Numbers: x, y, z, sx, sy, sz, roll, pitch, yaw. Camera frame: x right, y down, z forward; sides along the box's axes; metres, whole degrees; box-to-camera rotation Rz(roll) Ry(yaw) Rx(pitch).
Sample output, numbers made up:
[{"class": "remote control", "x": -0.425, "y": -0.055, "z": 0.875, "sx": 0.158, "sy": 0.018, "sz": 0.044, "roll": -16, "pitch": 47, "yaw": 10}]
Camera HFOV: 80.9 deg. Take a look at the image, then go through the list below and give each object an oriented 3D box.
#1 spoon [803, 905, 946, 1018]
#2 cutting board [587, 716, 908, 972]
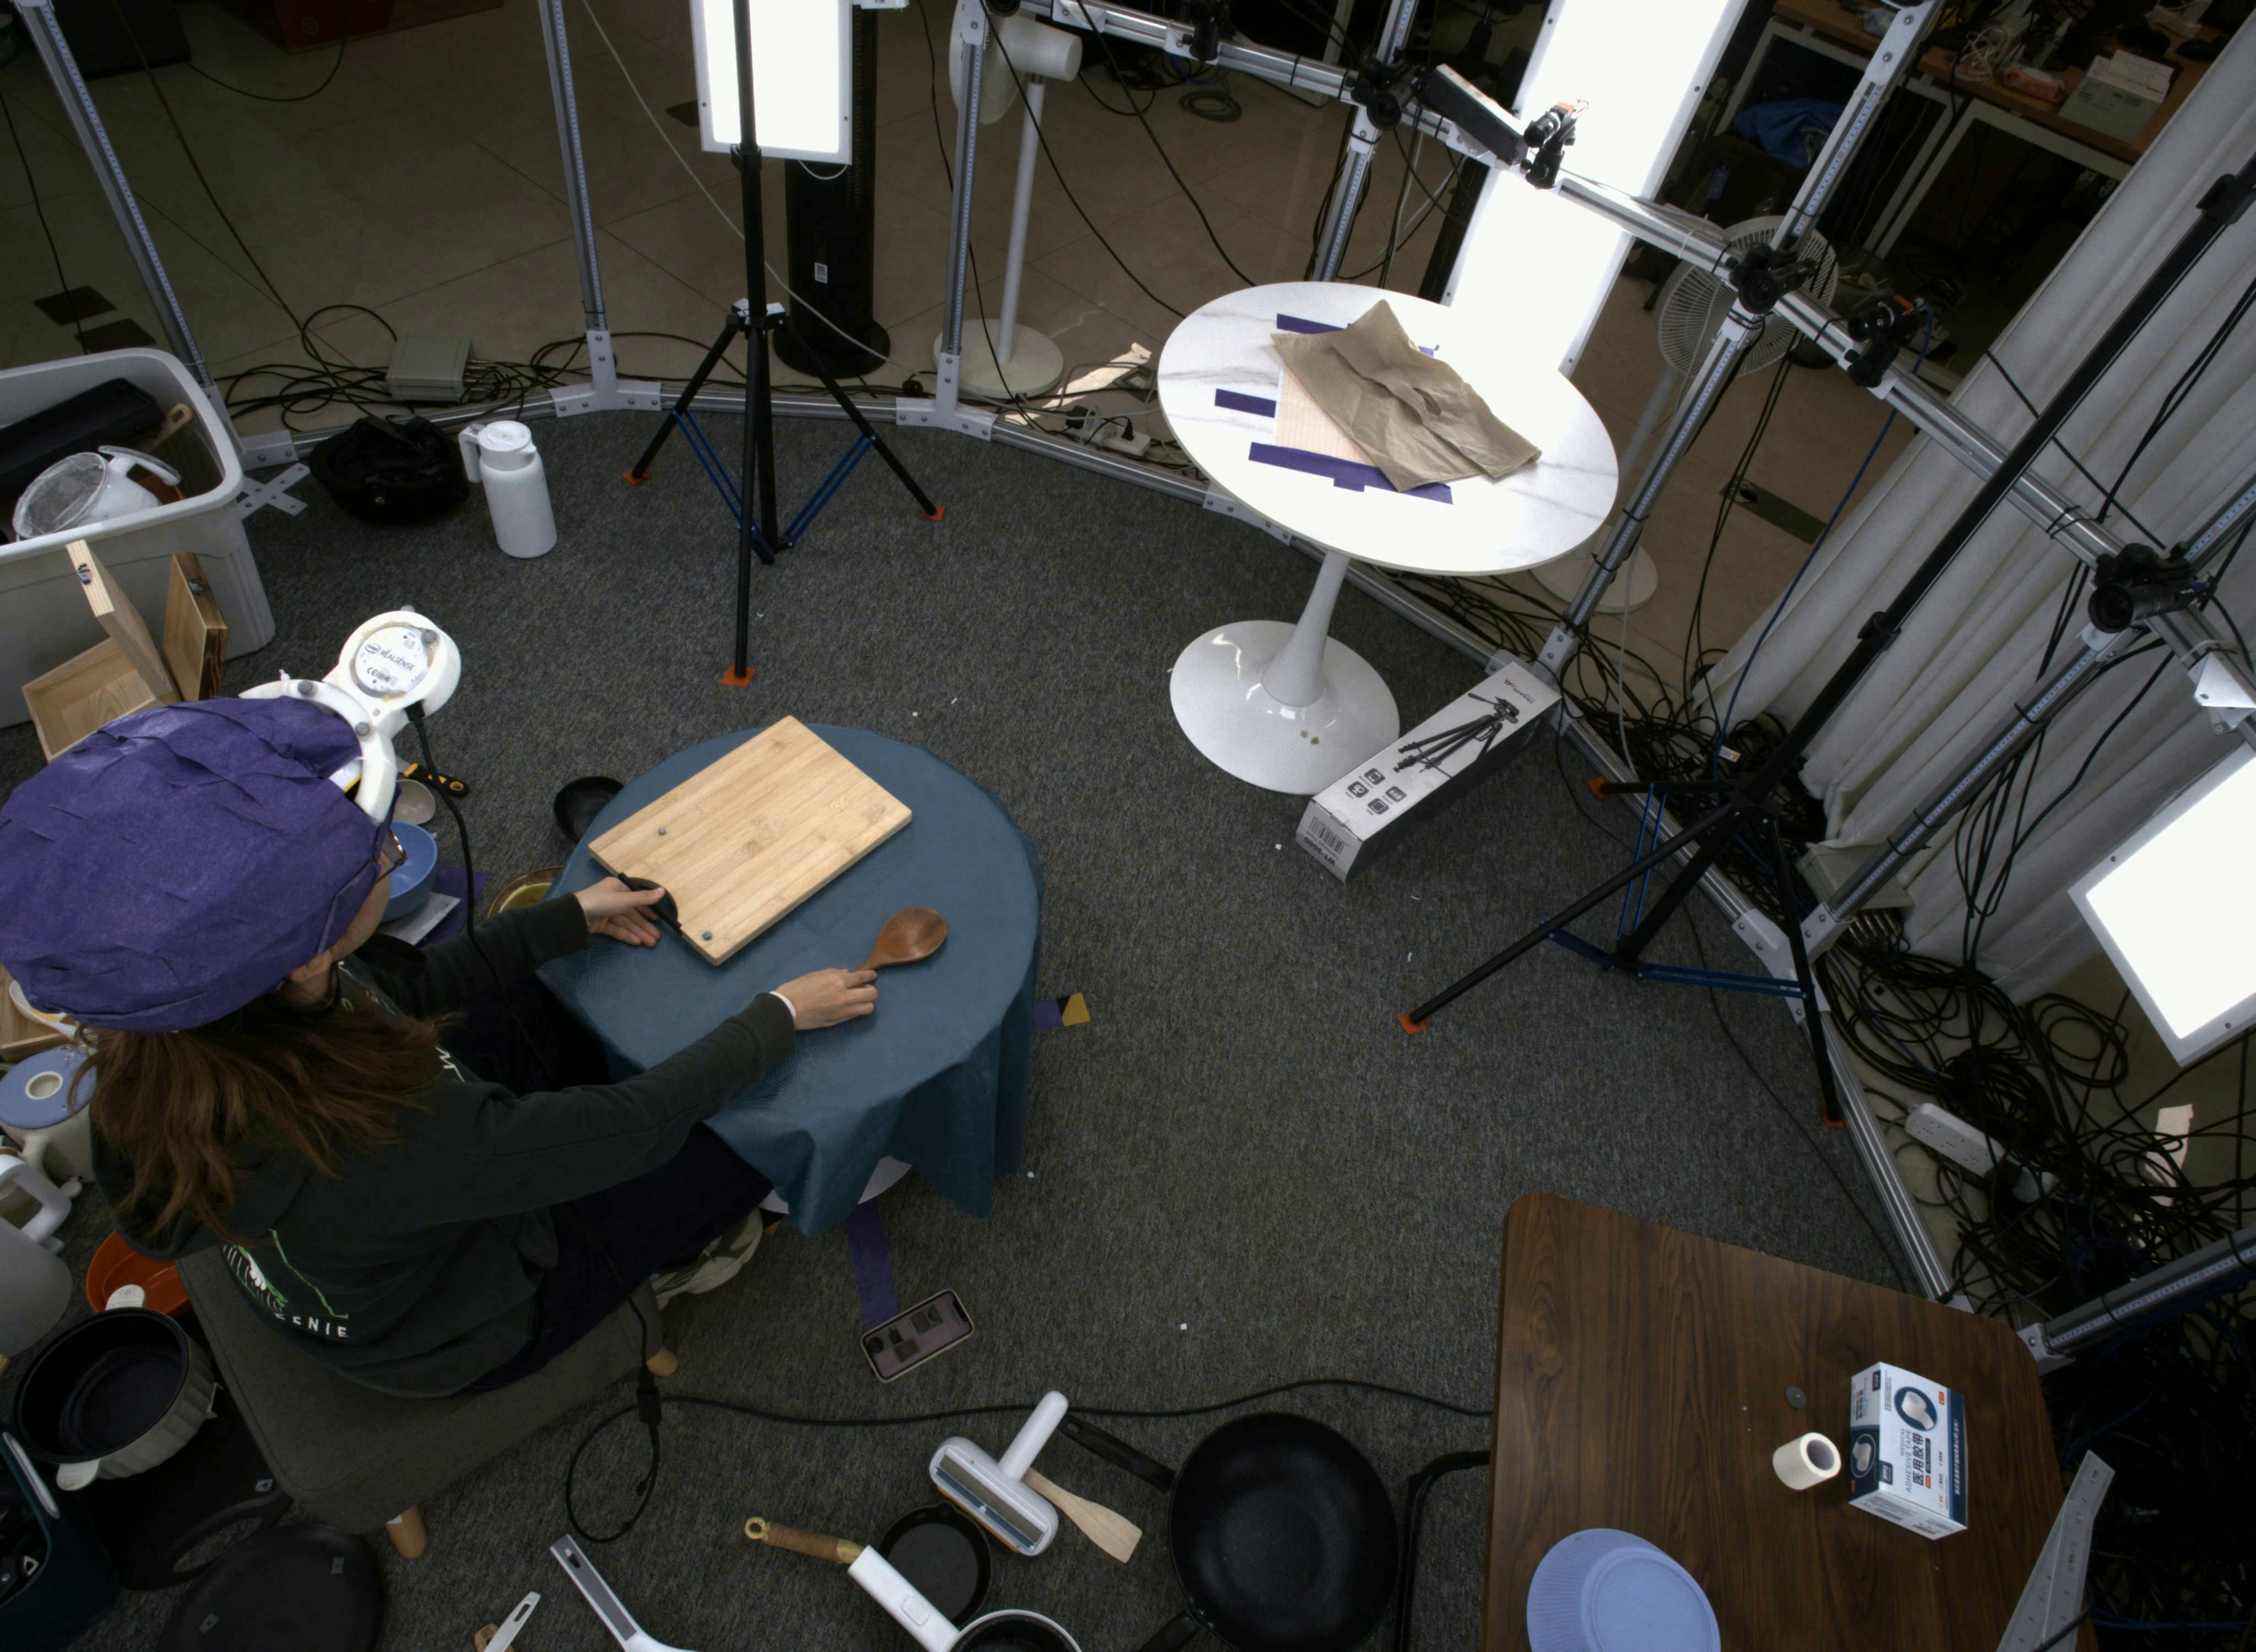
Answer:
[{"class": "spoon", "x": -0.317, "y": 0.168, "z": 1.620, "sx": 0.074, "sy": 0.017, "sz": 0.216, "roll": 42, "pitch": 55, "yaw": 16}, {"class": "cutting board", "x": -0.491, "y": 0.011, "z": 1.686, "sx": 0.245, "sy": 0.024, "sz": 0.349, "roll": 36, "pitch": 52, "yaw": 14}]
